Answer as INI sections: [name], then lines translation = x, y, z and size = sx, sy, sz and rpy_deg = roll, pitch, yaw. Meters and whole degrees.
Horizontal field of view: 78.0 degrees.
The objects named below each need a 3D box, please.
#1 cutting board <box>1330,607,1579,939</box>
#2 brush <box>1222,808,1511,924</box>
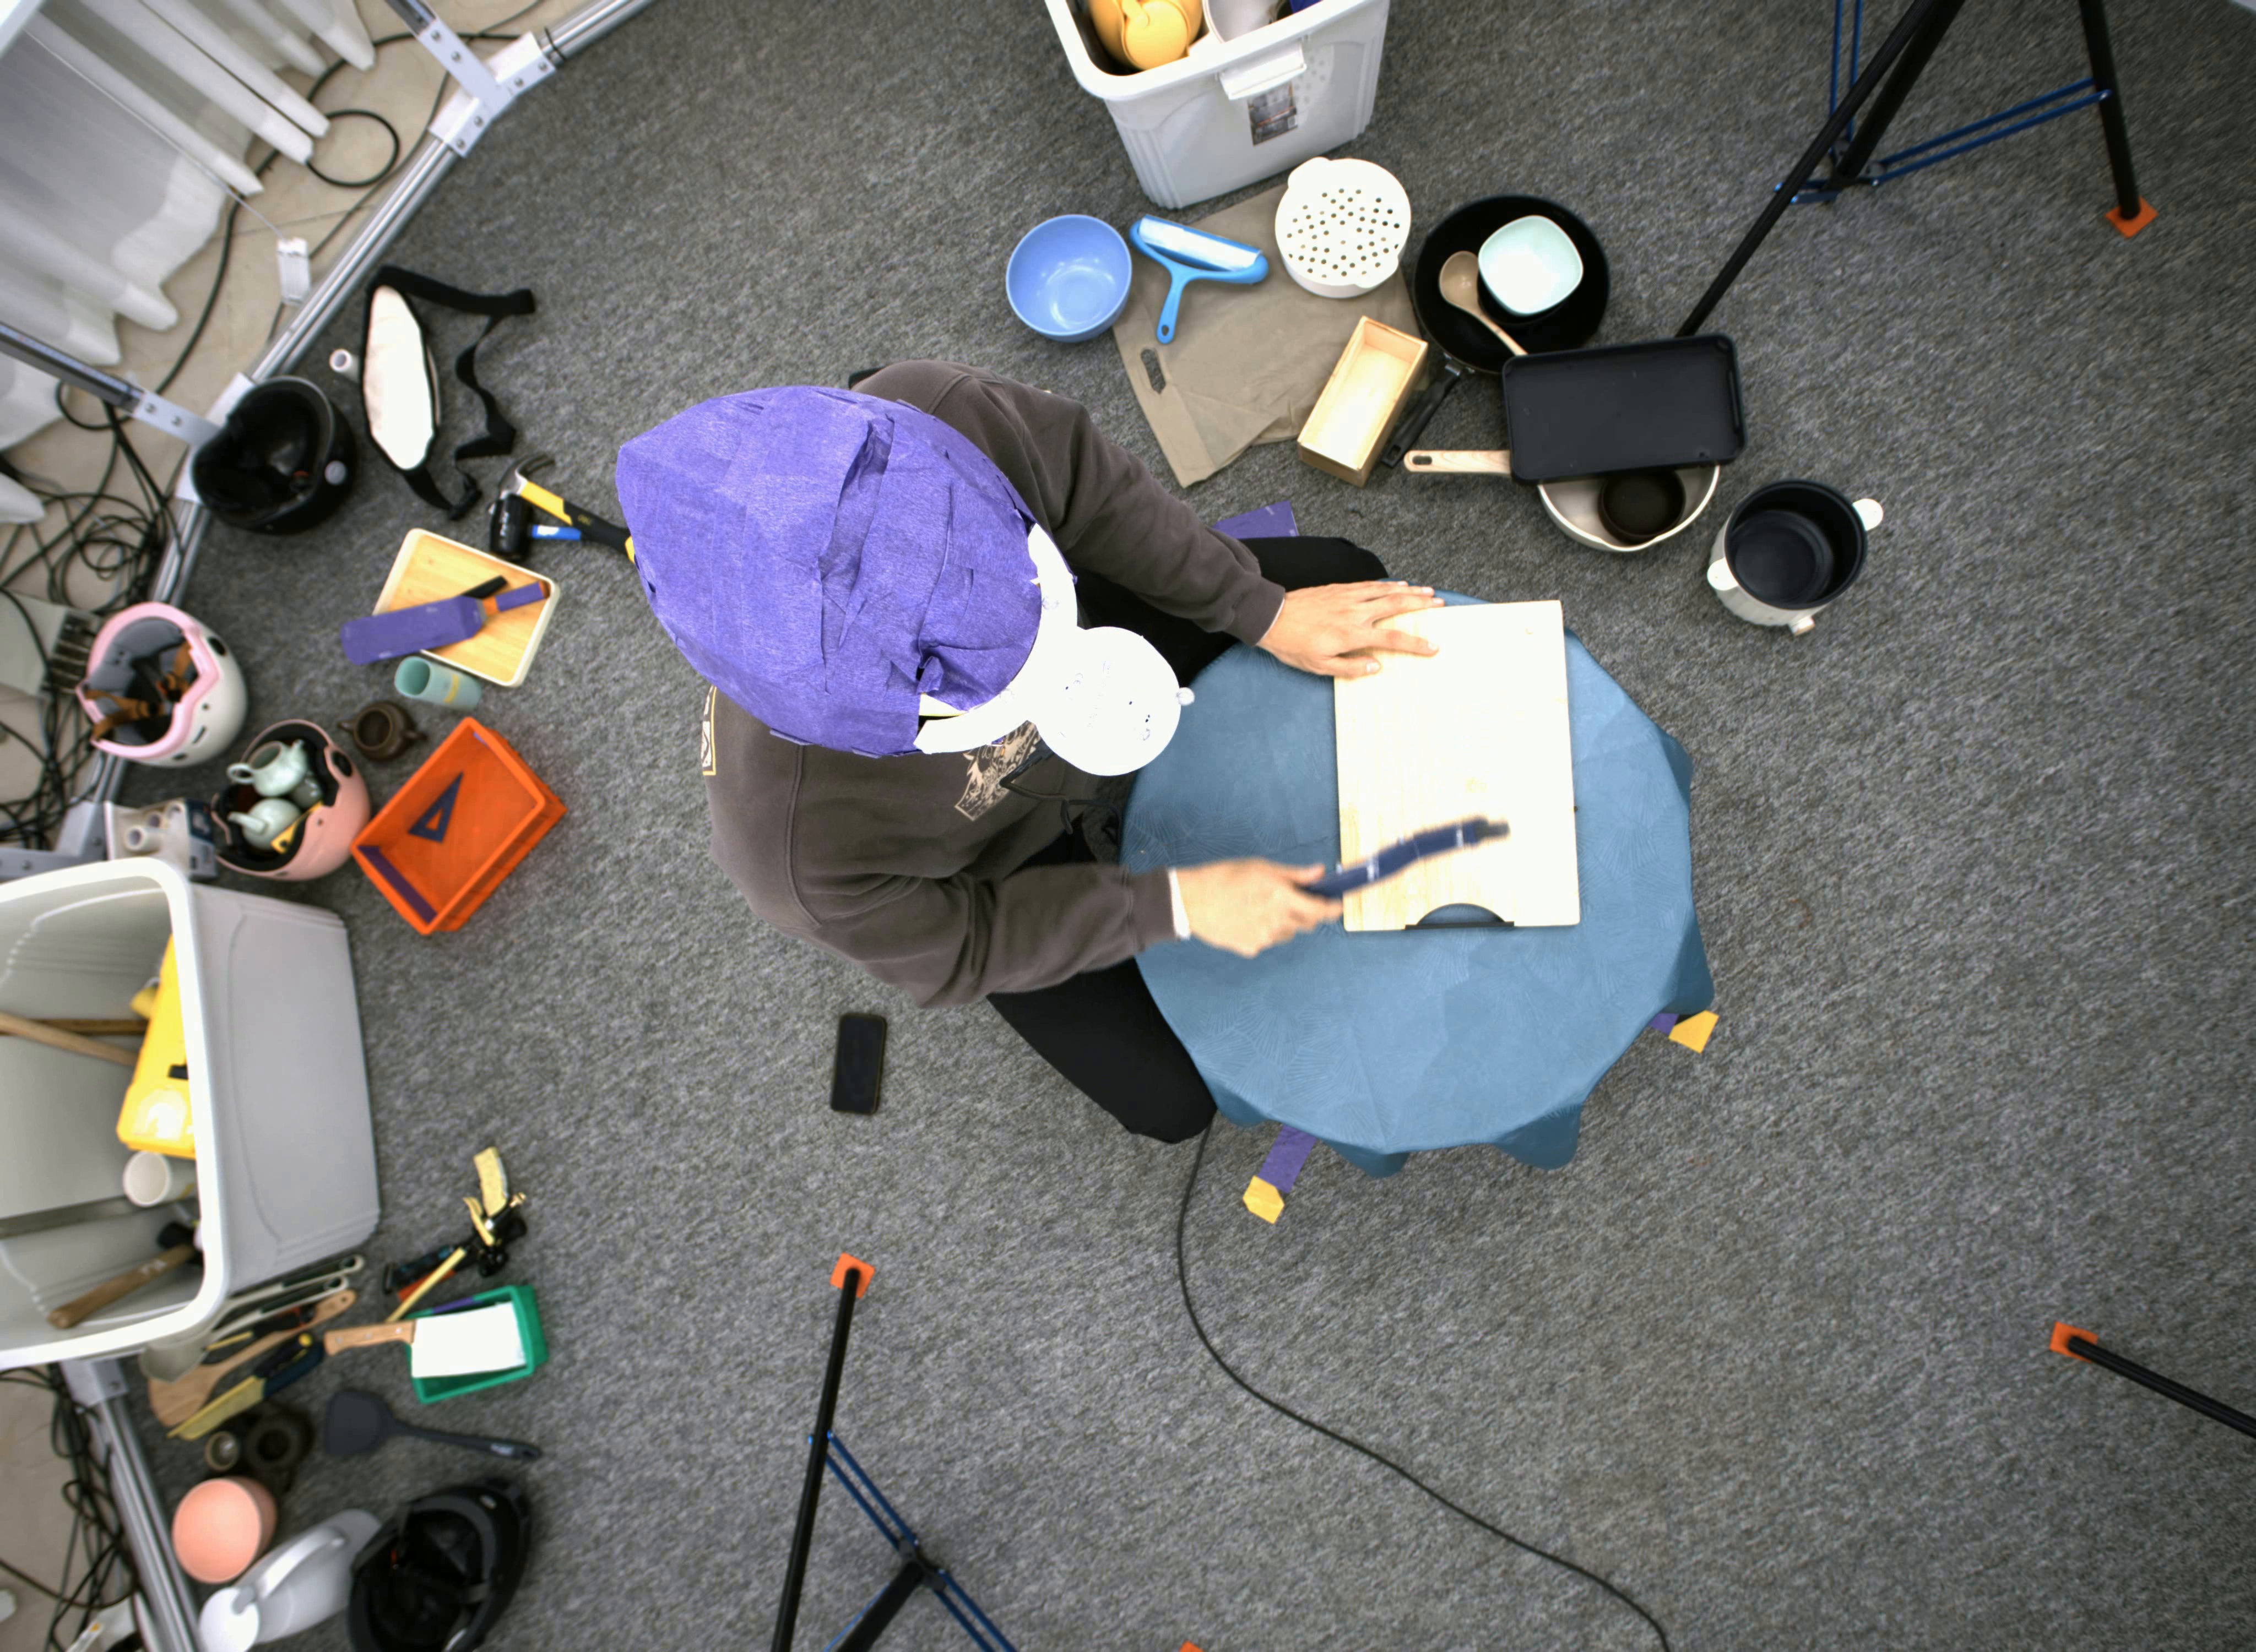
[cutting board]
translation = 0.340, -0.059, 1.443
size = 0.252, 0.023, 0.347
rpy_deg = -3, 87, 11
[brush]
translation = 0.226, 0.036, 1.329
size = 0.273, 0.094, 0.034
rpy_deg = -23, 106, 0
